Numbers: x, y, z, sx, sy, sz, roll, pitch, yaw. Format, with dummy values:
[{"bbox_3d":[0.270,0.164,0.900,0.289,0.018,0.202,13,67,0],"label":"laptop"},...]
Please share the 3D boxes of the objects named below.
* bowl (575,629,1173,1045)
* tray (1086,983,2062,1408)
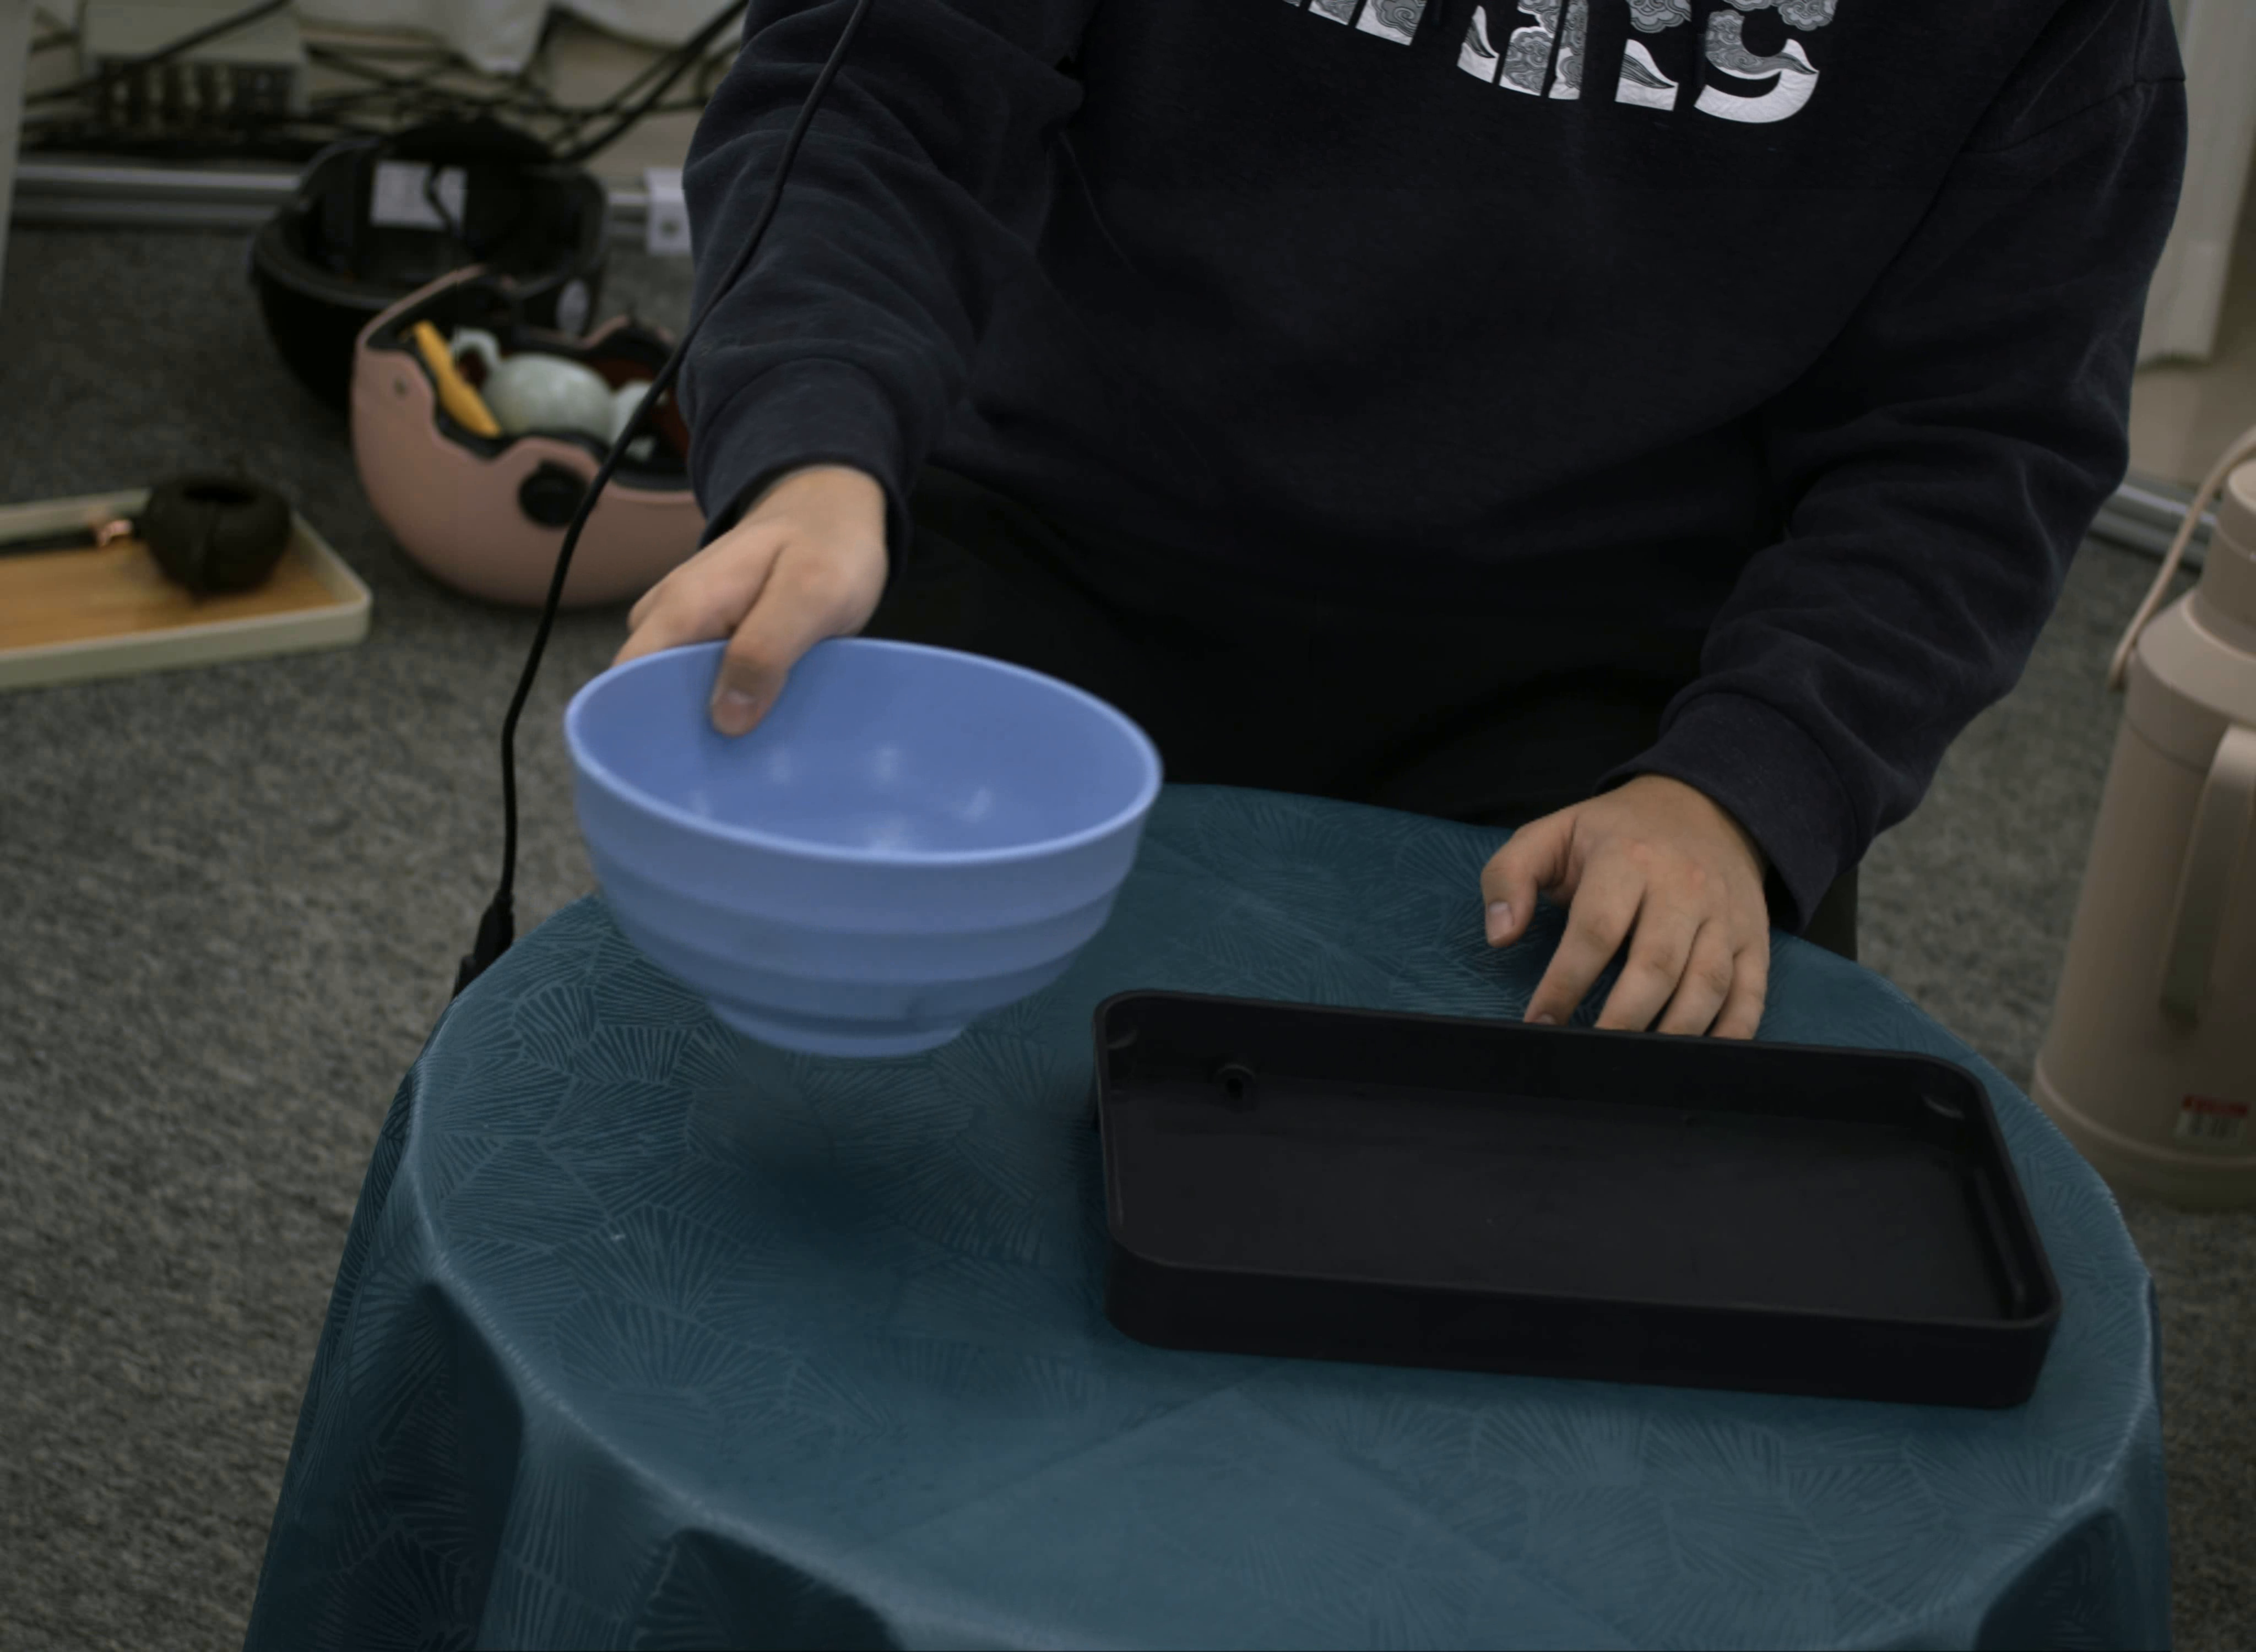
[{"bbox_3d":[-0.086,0.011,1.754,0.196,0.095,0.197,4,21,-2],"label":"bowl"},{"bbox_3d":[0.144,0.123,1.800,0.317,0.037,0.185,5,27,-4],"label":"tray"}]
